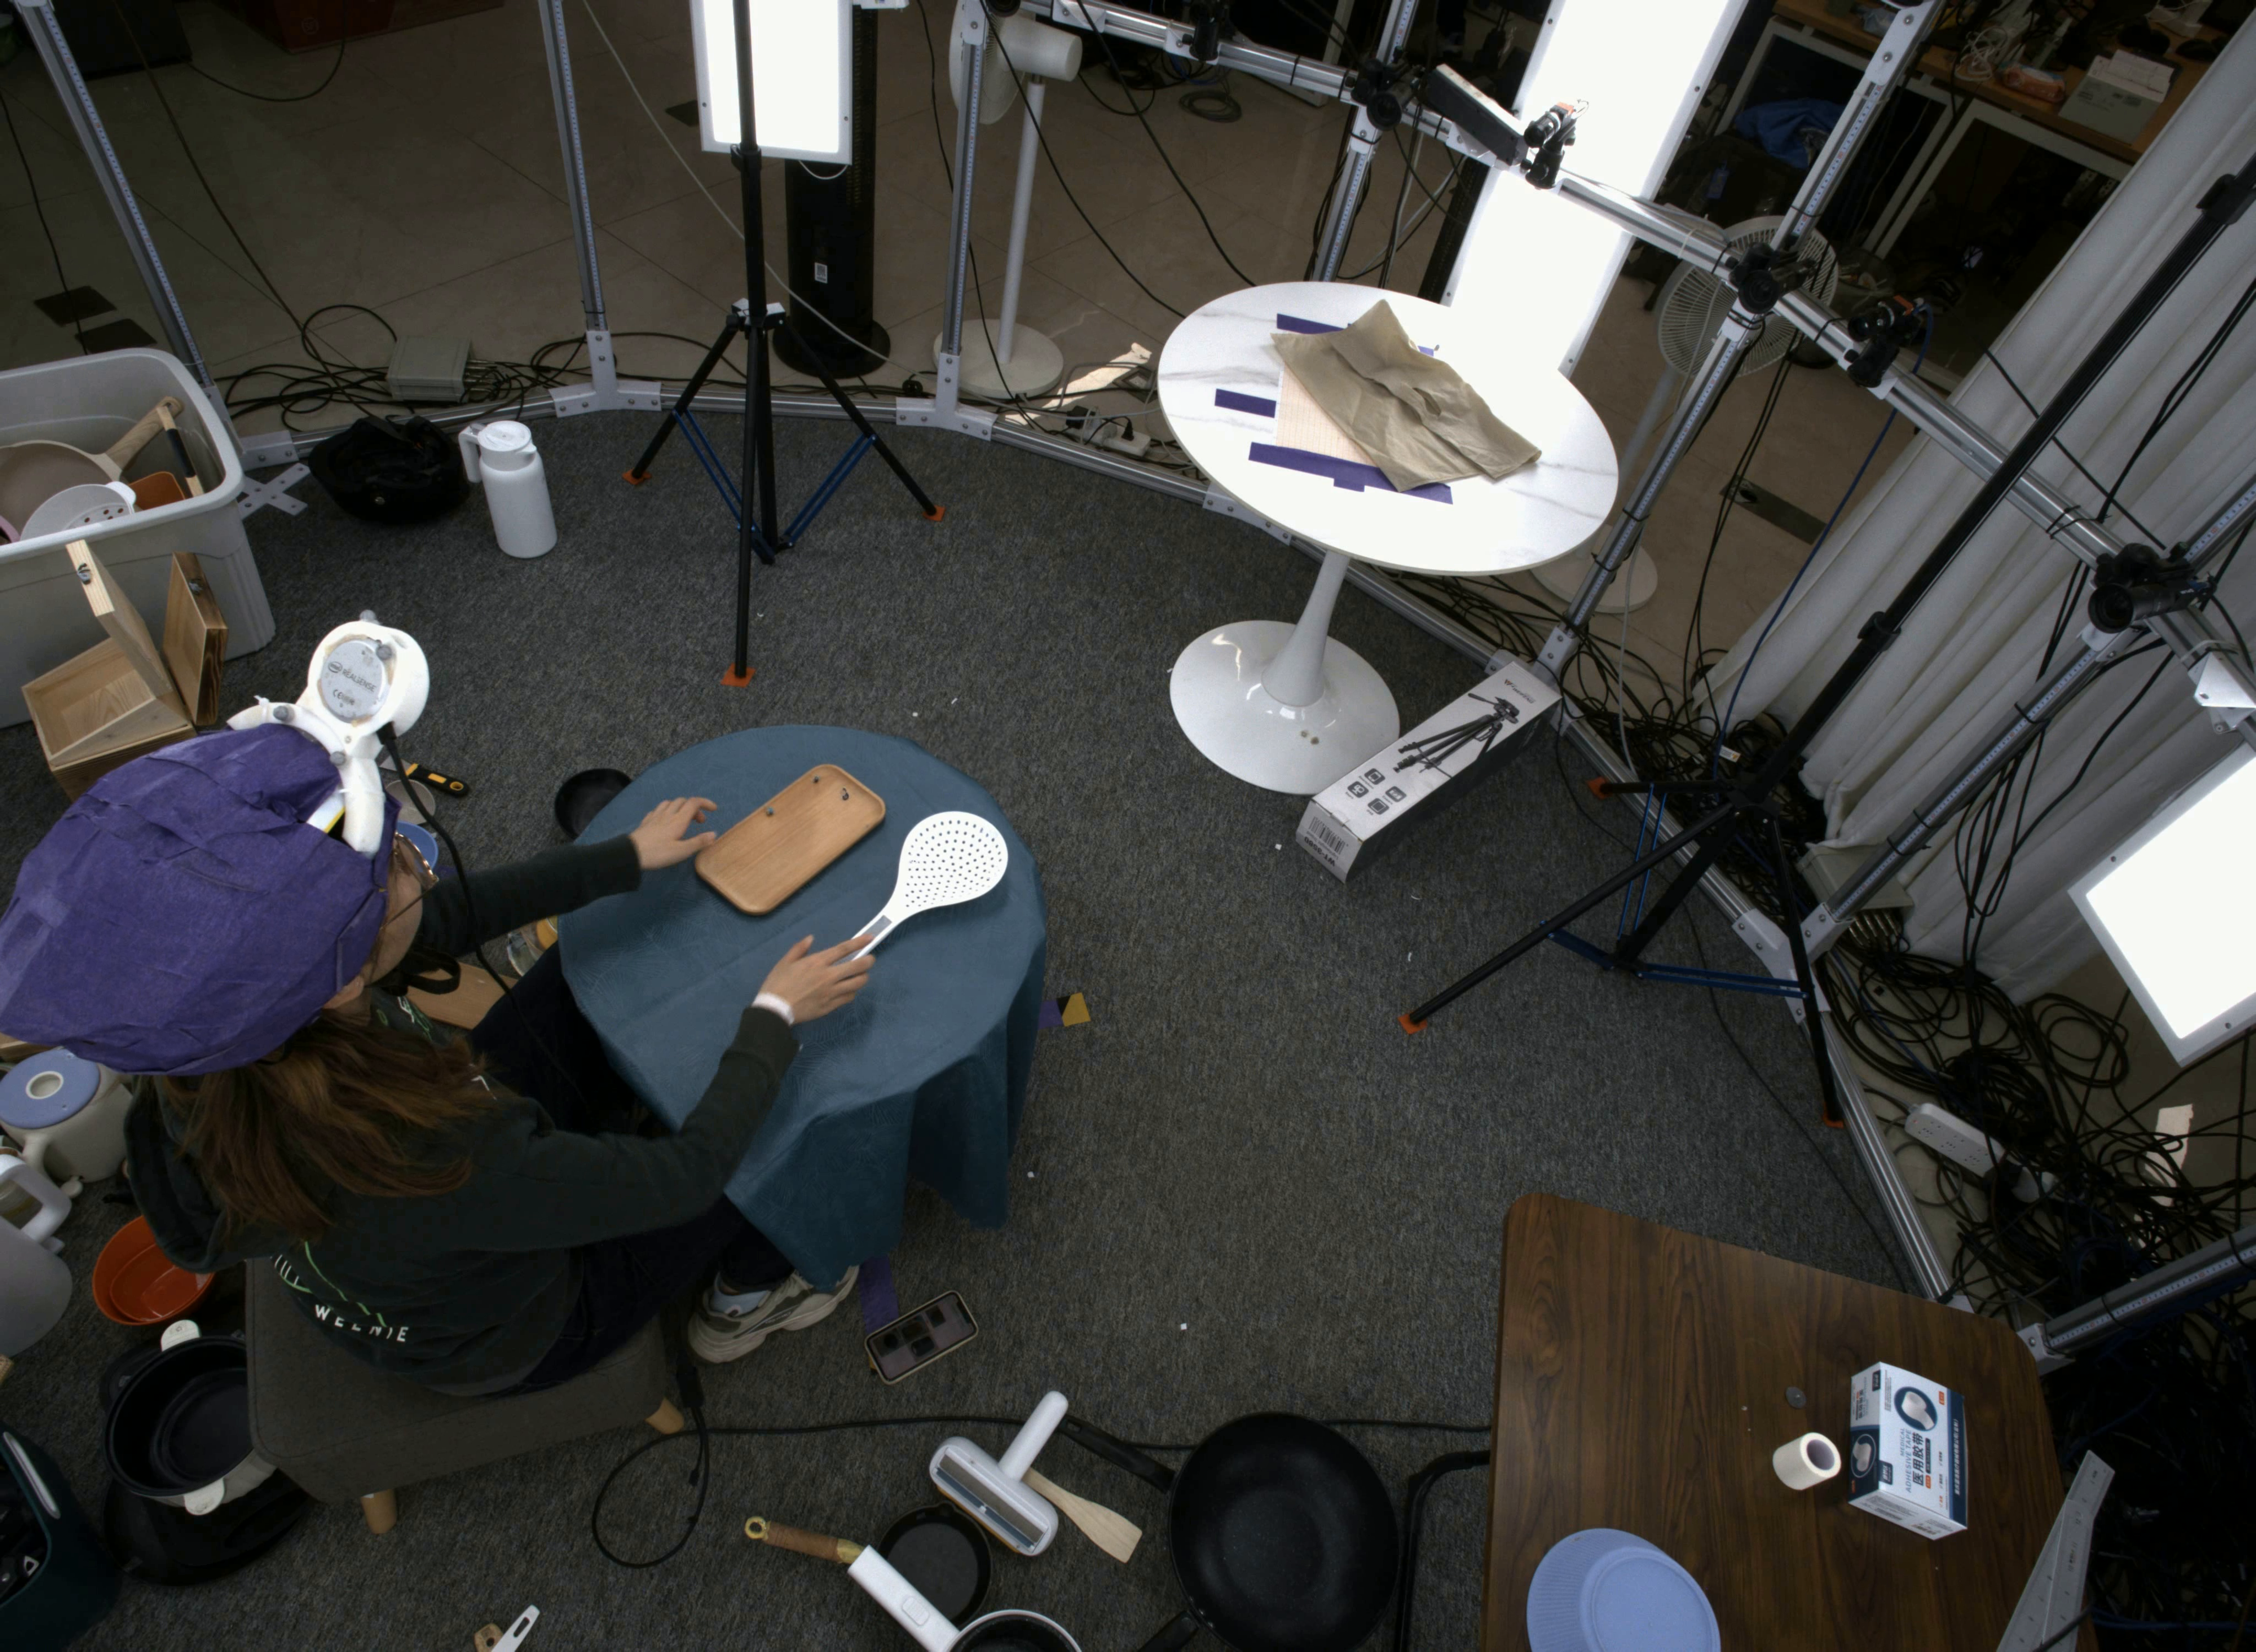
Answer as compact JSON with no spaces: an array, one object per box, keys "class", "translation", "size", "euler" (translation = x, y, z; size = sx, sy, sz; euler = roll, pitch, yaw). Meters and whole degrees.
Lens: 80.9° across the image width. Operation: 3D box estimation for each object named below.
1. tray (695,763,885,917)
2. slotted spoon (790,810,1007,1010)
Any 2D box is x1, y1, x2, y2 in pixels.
[{"class":"tray","translation":[-0.441,0.015,1.703],"size":[0.128,0.023,0.250],"euler":[35,54,15]},{"class":"slotted spoon","translation":[-0.294,0.106,1.654],"size":[0.133,0.046,0.350],"euler":[37,55,14]}]
